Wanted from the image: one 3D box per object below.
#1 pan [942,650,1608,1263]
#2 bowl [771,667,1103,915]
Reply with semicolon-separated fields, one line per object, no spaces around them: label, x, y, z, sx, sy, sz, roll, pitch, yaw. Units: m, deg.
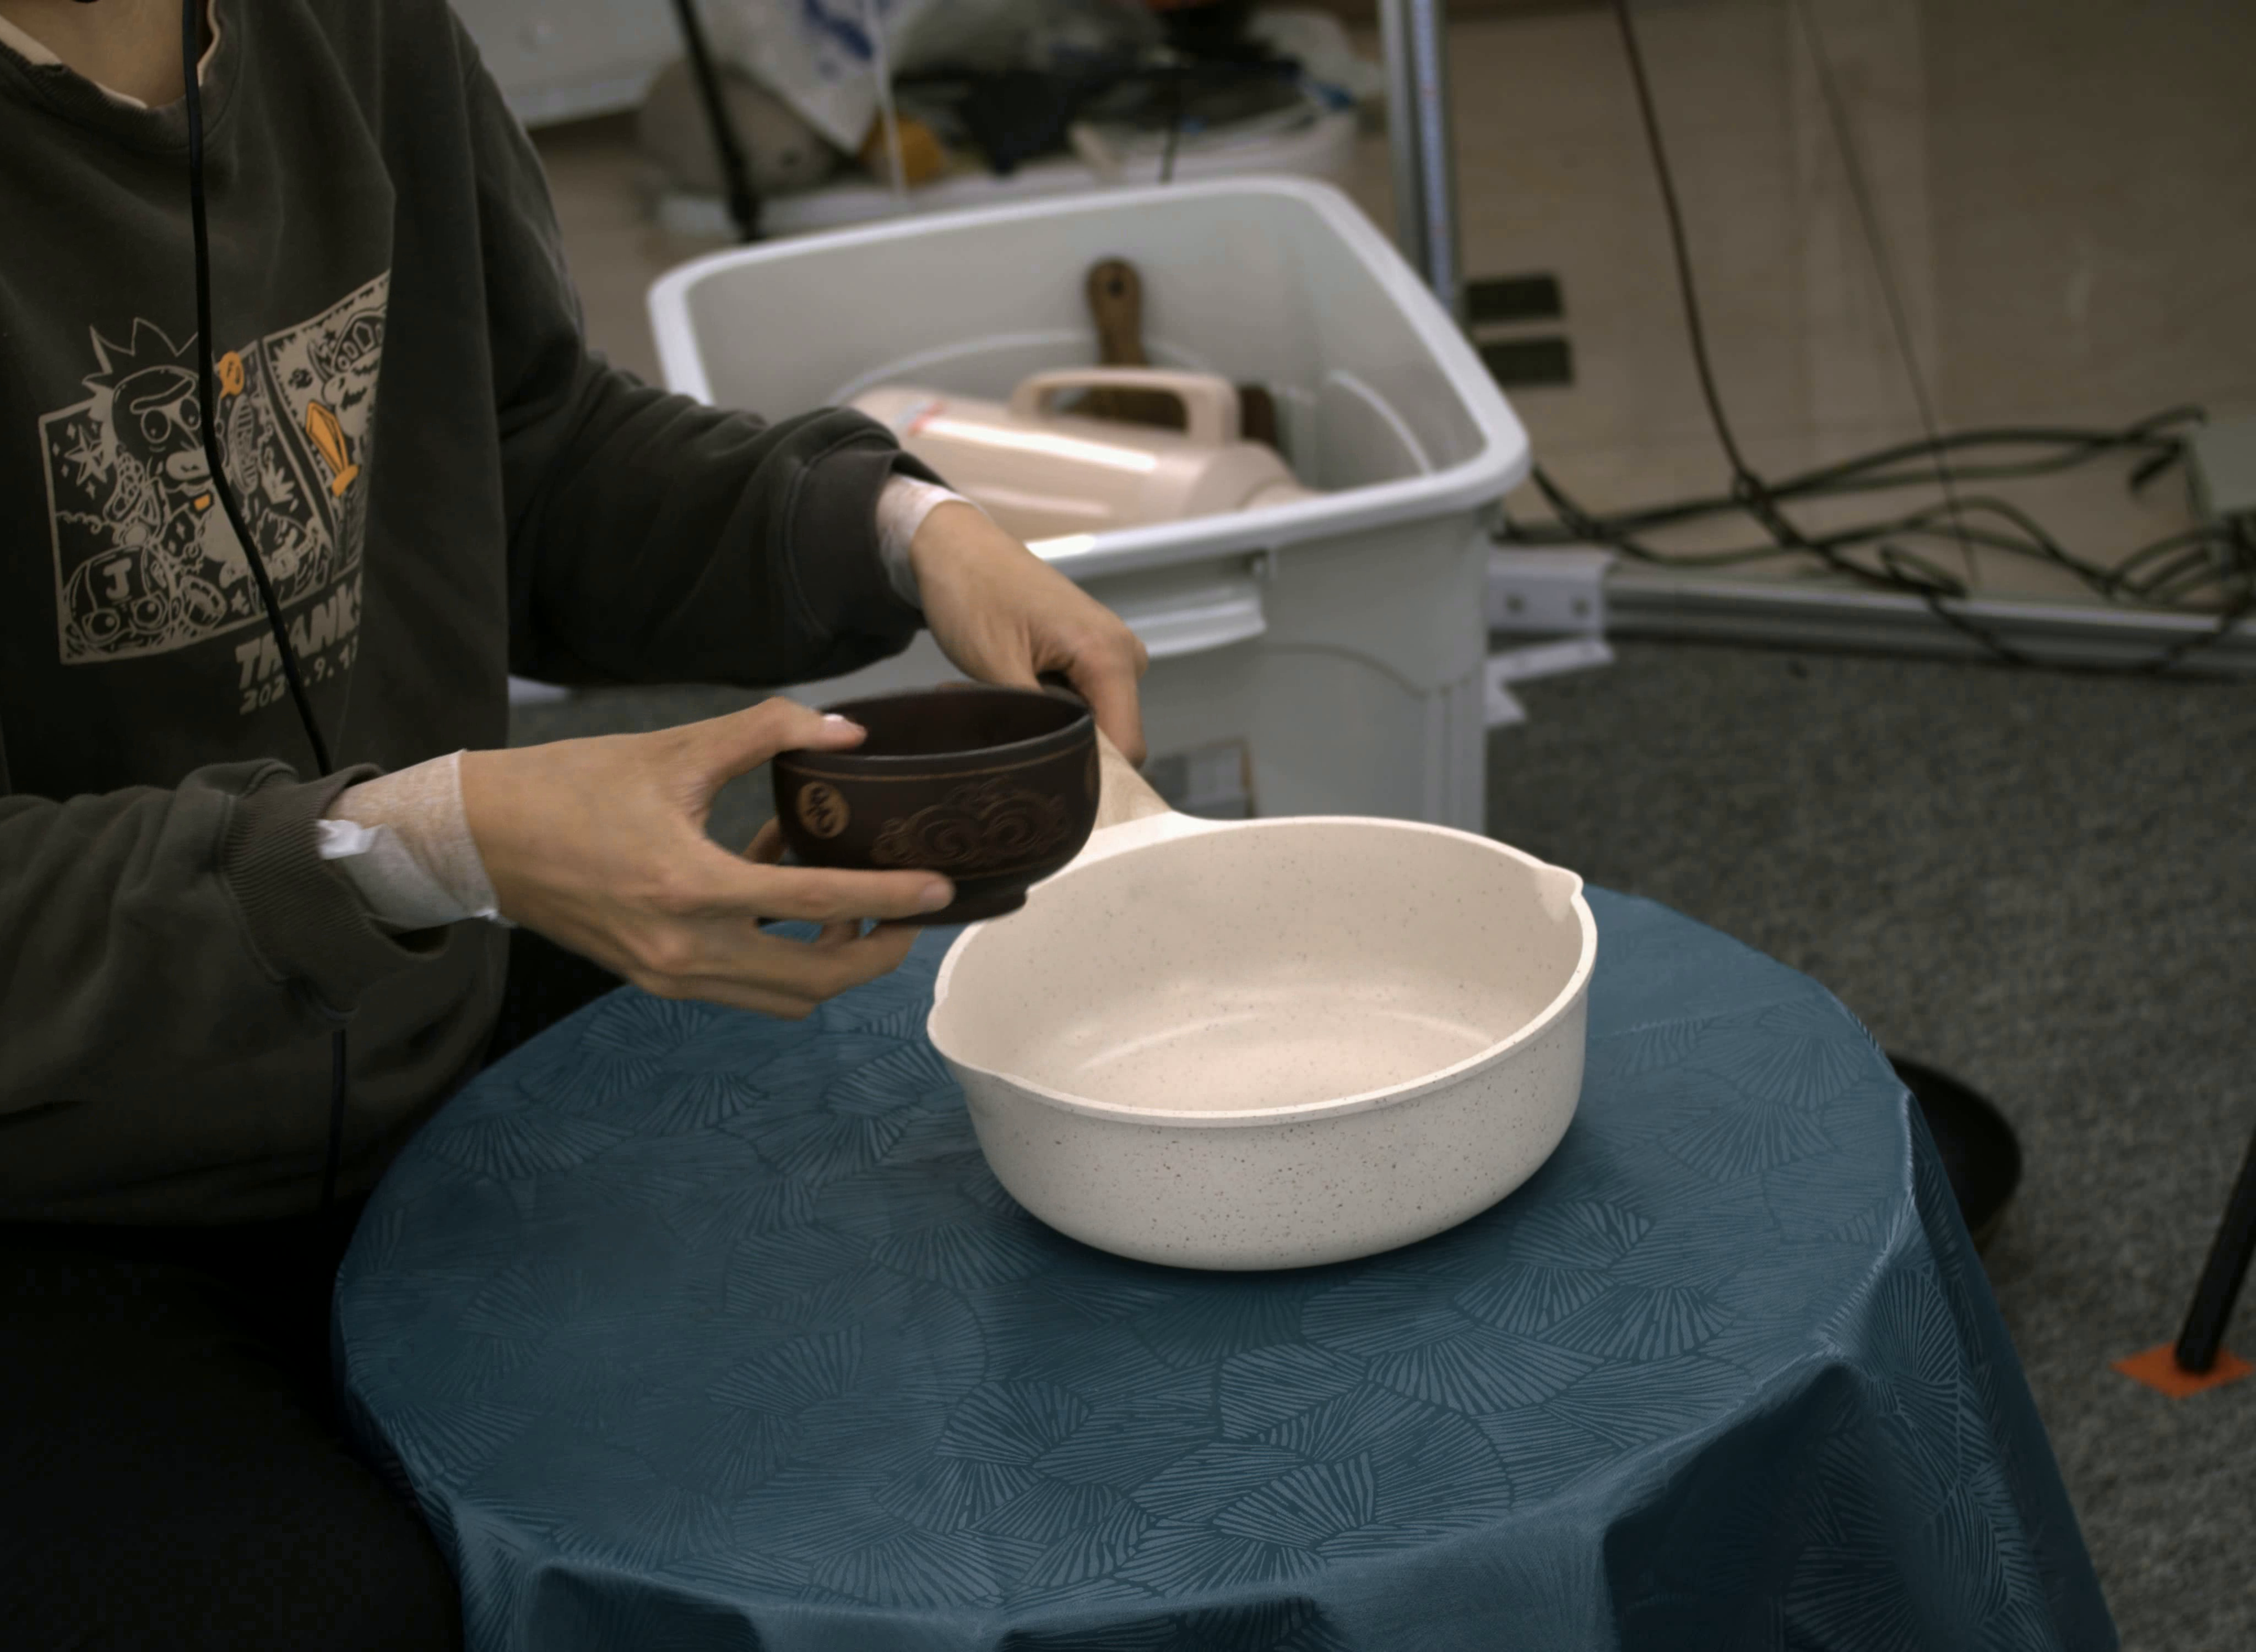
pan;0.026;0.045;2.224;0.262;0.103;0.429;-16;26;-16
bowl;-0.066;-0.009;2.016;0.118;0.070;0.117;-6;16;2
